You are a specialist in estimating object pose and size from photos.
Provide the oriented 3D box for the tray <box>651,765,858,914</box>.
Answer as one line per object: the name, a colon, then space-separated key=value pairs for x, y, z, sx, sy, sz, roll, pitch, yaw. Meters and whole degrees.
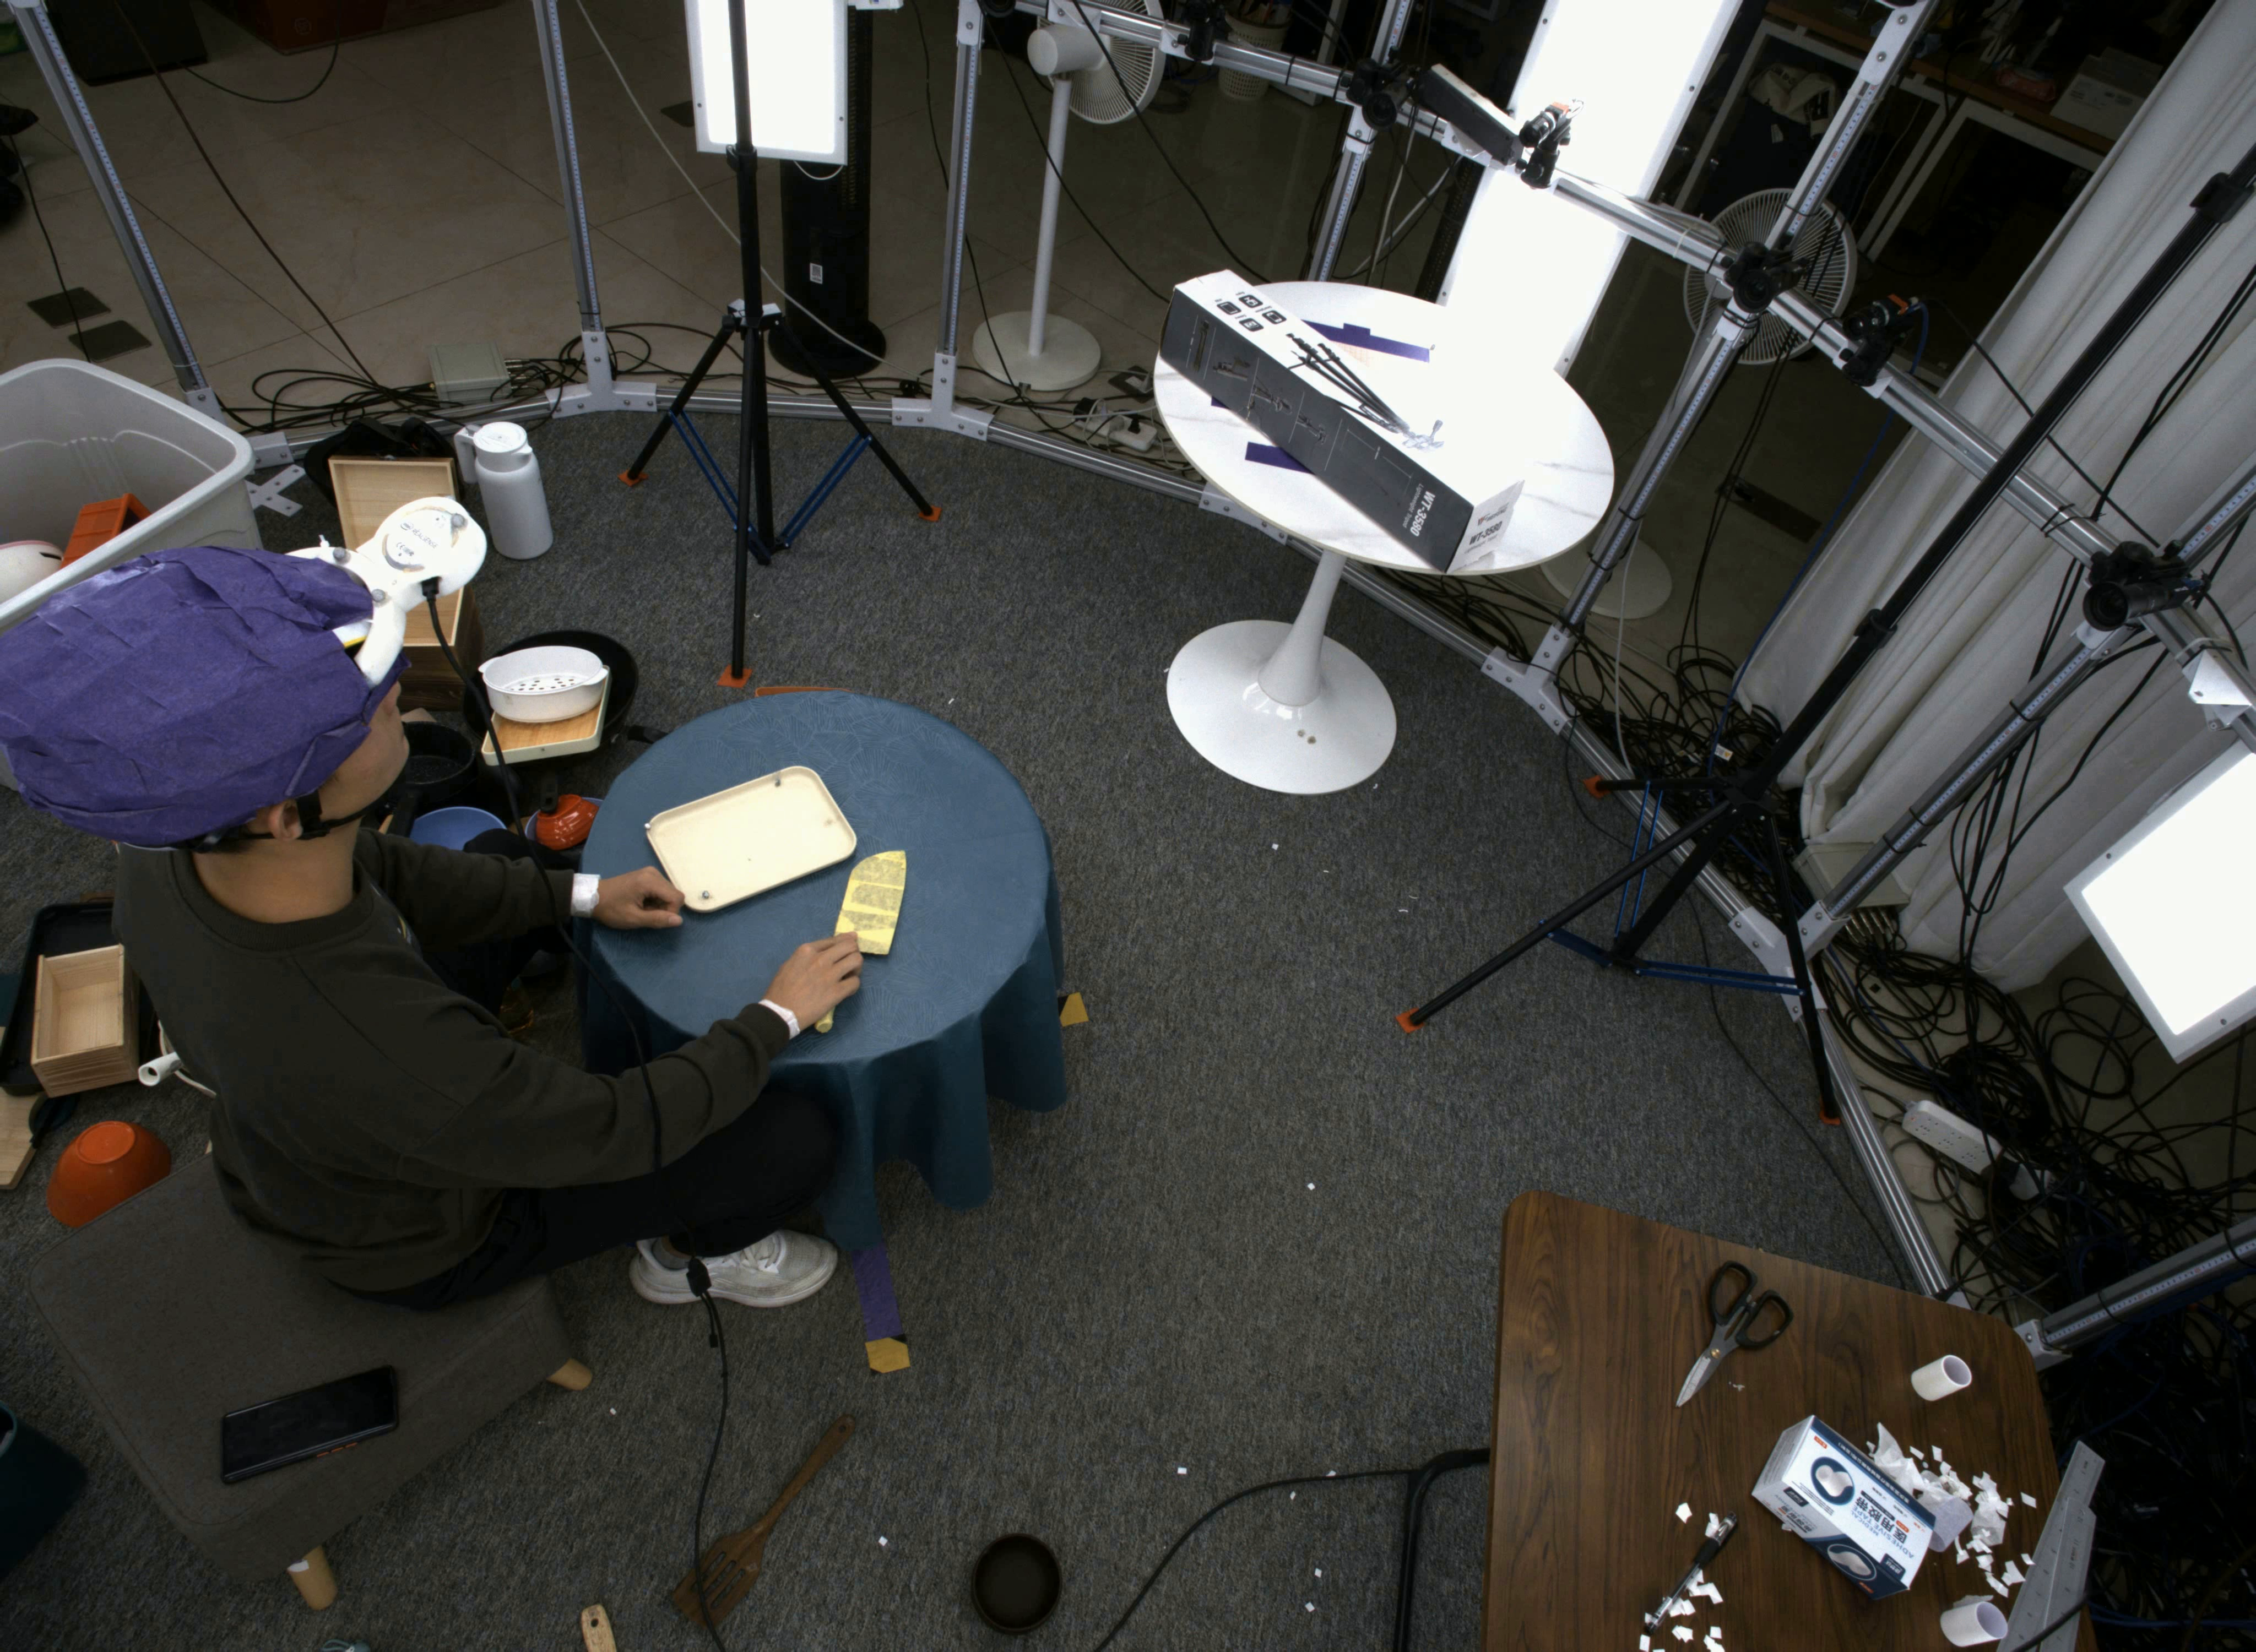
tray: x=-0.489 y=0.015 z=1.696 sx=0.241 sy=0.018 sz=0.167 roll=-23 pitch=63 yaw=-28

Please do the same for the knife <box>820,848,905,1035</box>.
knife: x=-0.335 y=0.138 z=1.646 sx=0.080 sy=0.028 sz=0.285 roll=10 pitch=51 yaw=-1
